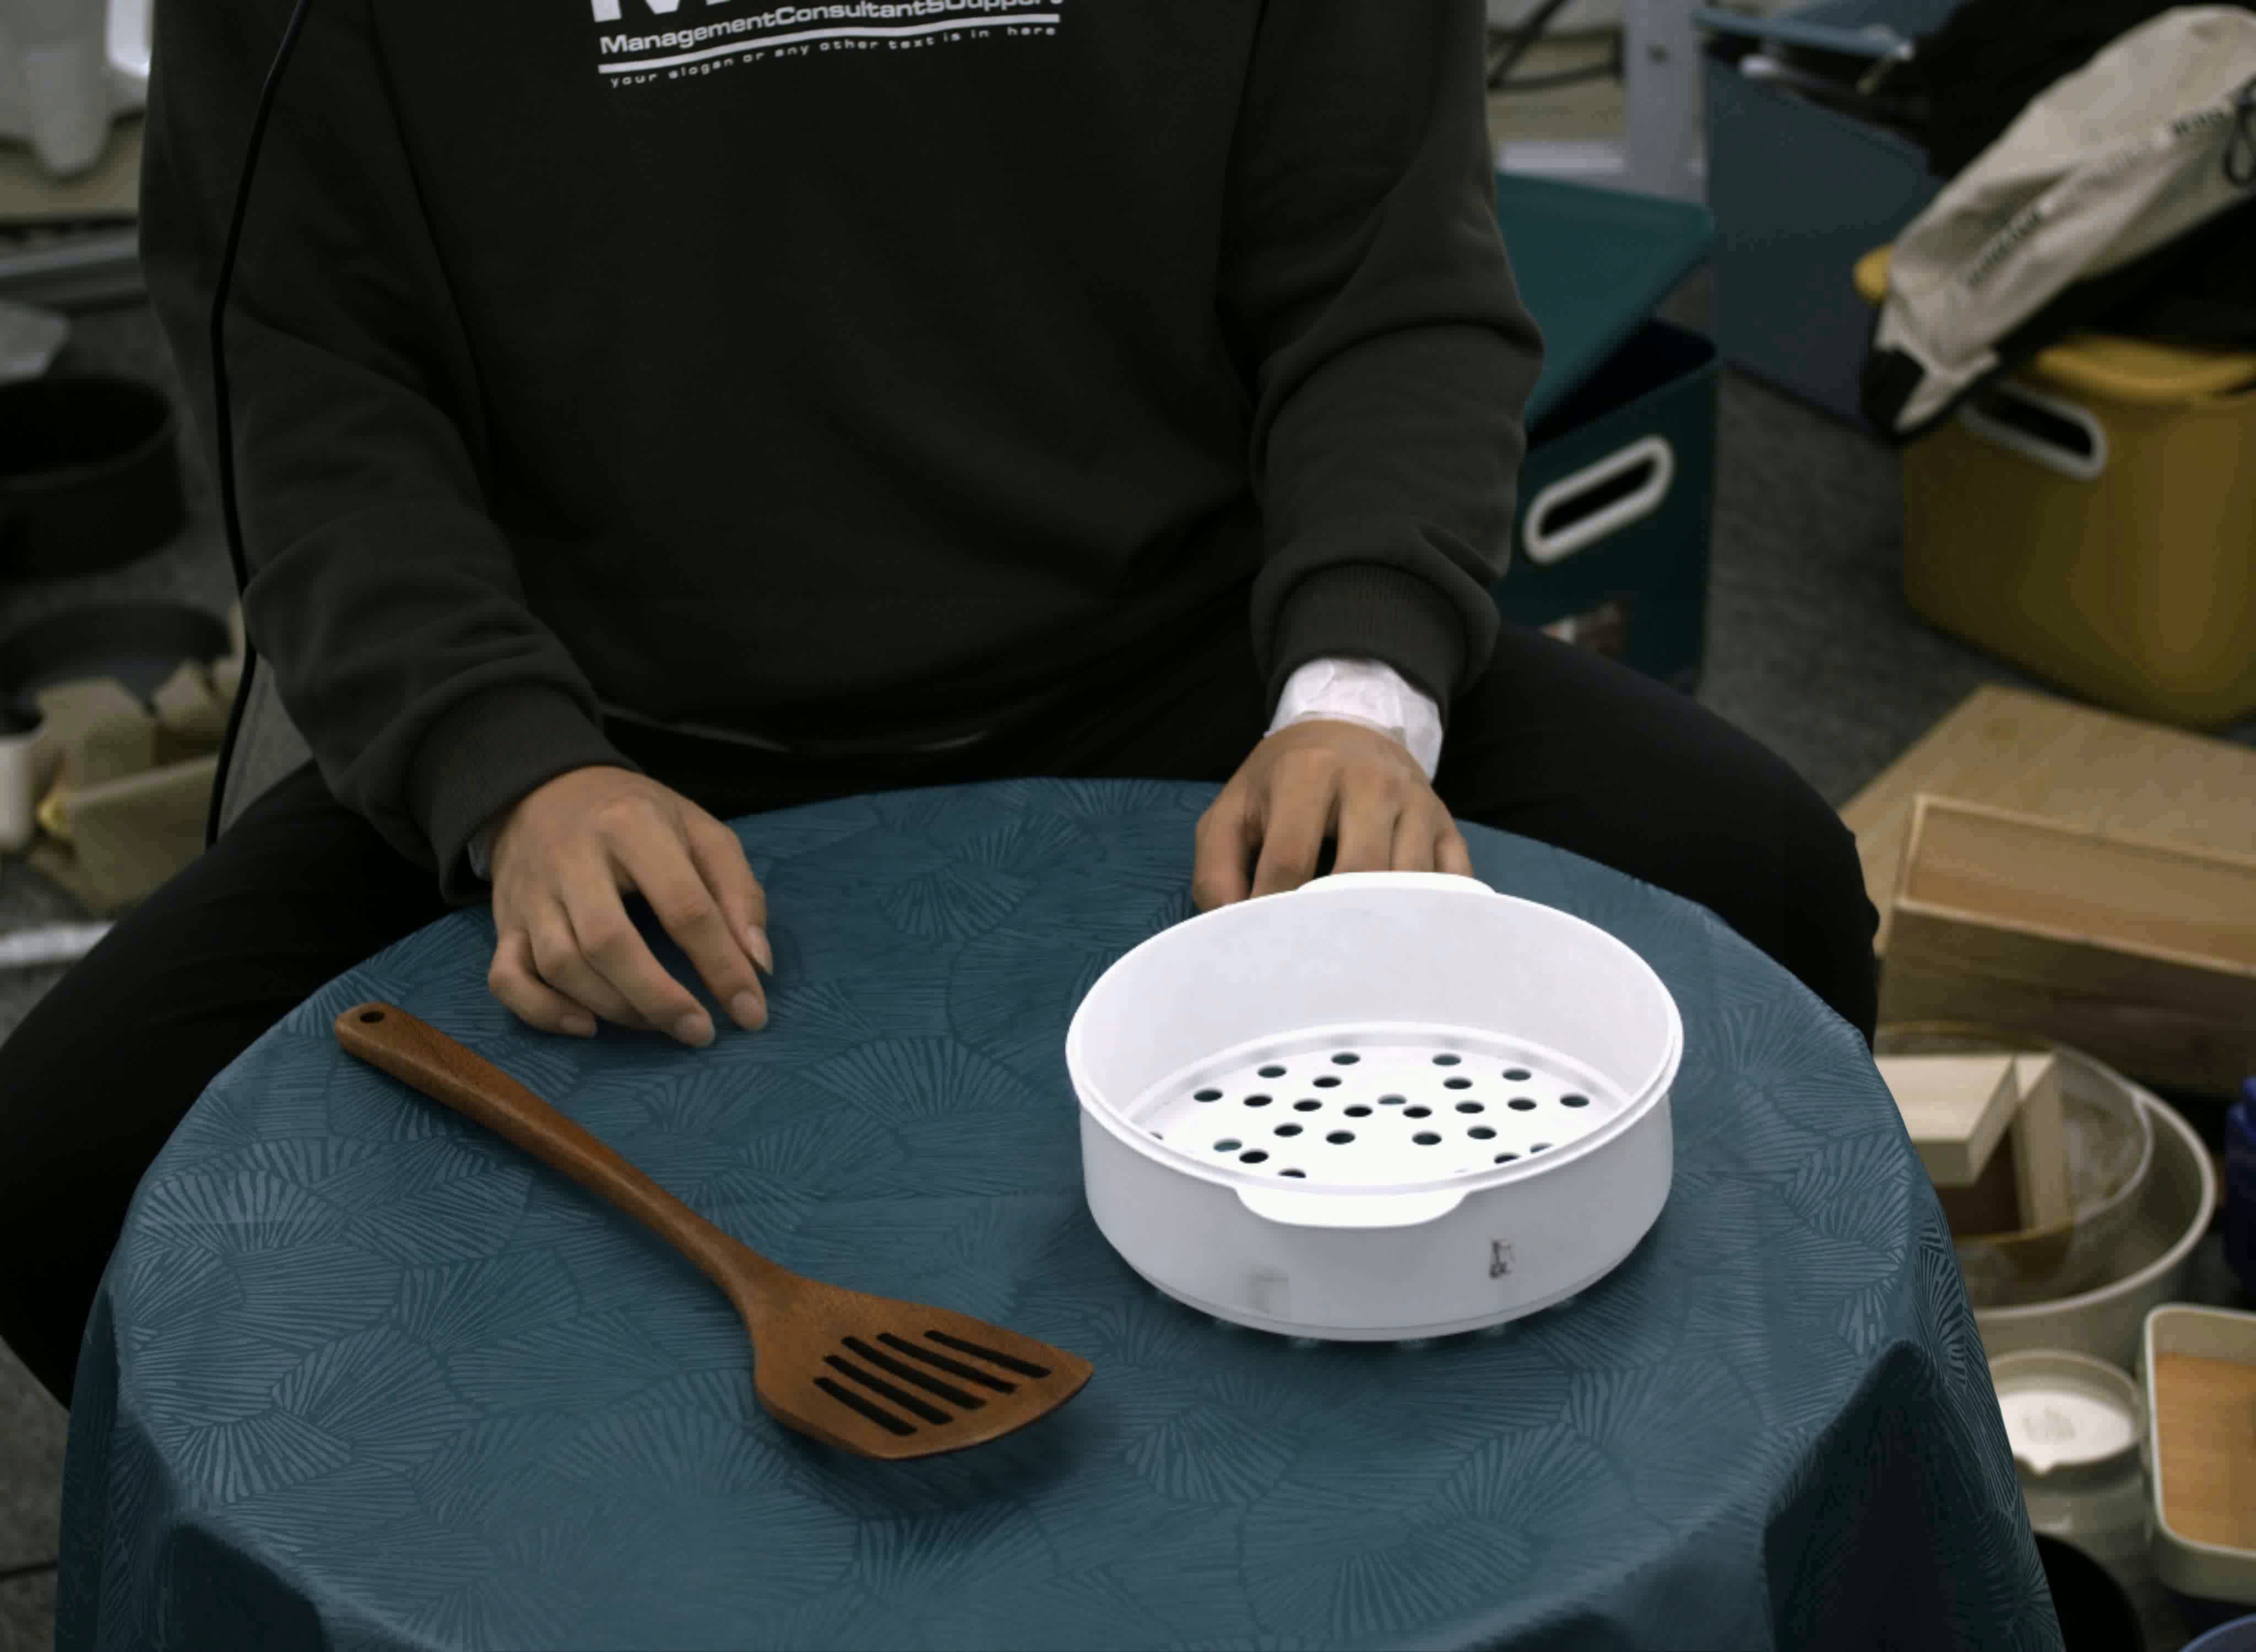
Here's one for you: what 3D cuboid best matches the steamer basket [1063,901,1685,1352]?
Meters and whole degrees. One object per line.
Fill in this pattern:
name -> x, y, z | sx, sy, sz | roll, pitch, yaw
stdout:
steamer basket -> 0.079, 0.099, 1.831 | 0.201, 0.068, 0.234 | 3, 24, 6

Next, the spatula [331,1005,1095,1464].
spatula -> -0.156, 0.130, 1.838 | 0.086, 0.023, 0.385 | -20, 31, -34
